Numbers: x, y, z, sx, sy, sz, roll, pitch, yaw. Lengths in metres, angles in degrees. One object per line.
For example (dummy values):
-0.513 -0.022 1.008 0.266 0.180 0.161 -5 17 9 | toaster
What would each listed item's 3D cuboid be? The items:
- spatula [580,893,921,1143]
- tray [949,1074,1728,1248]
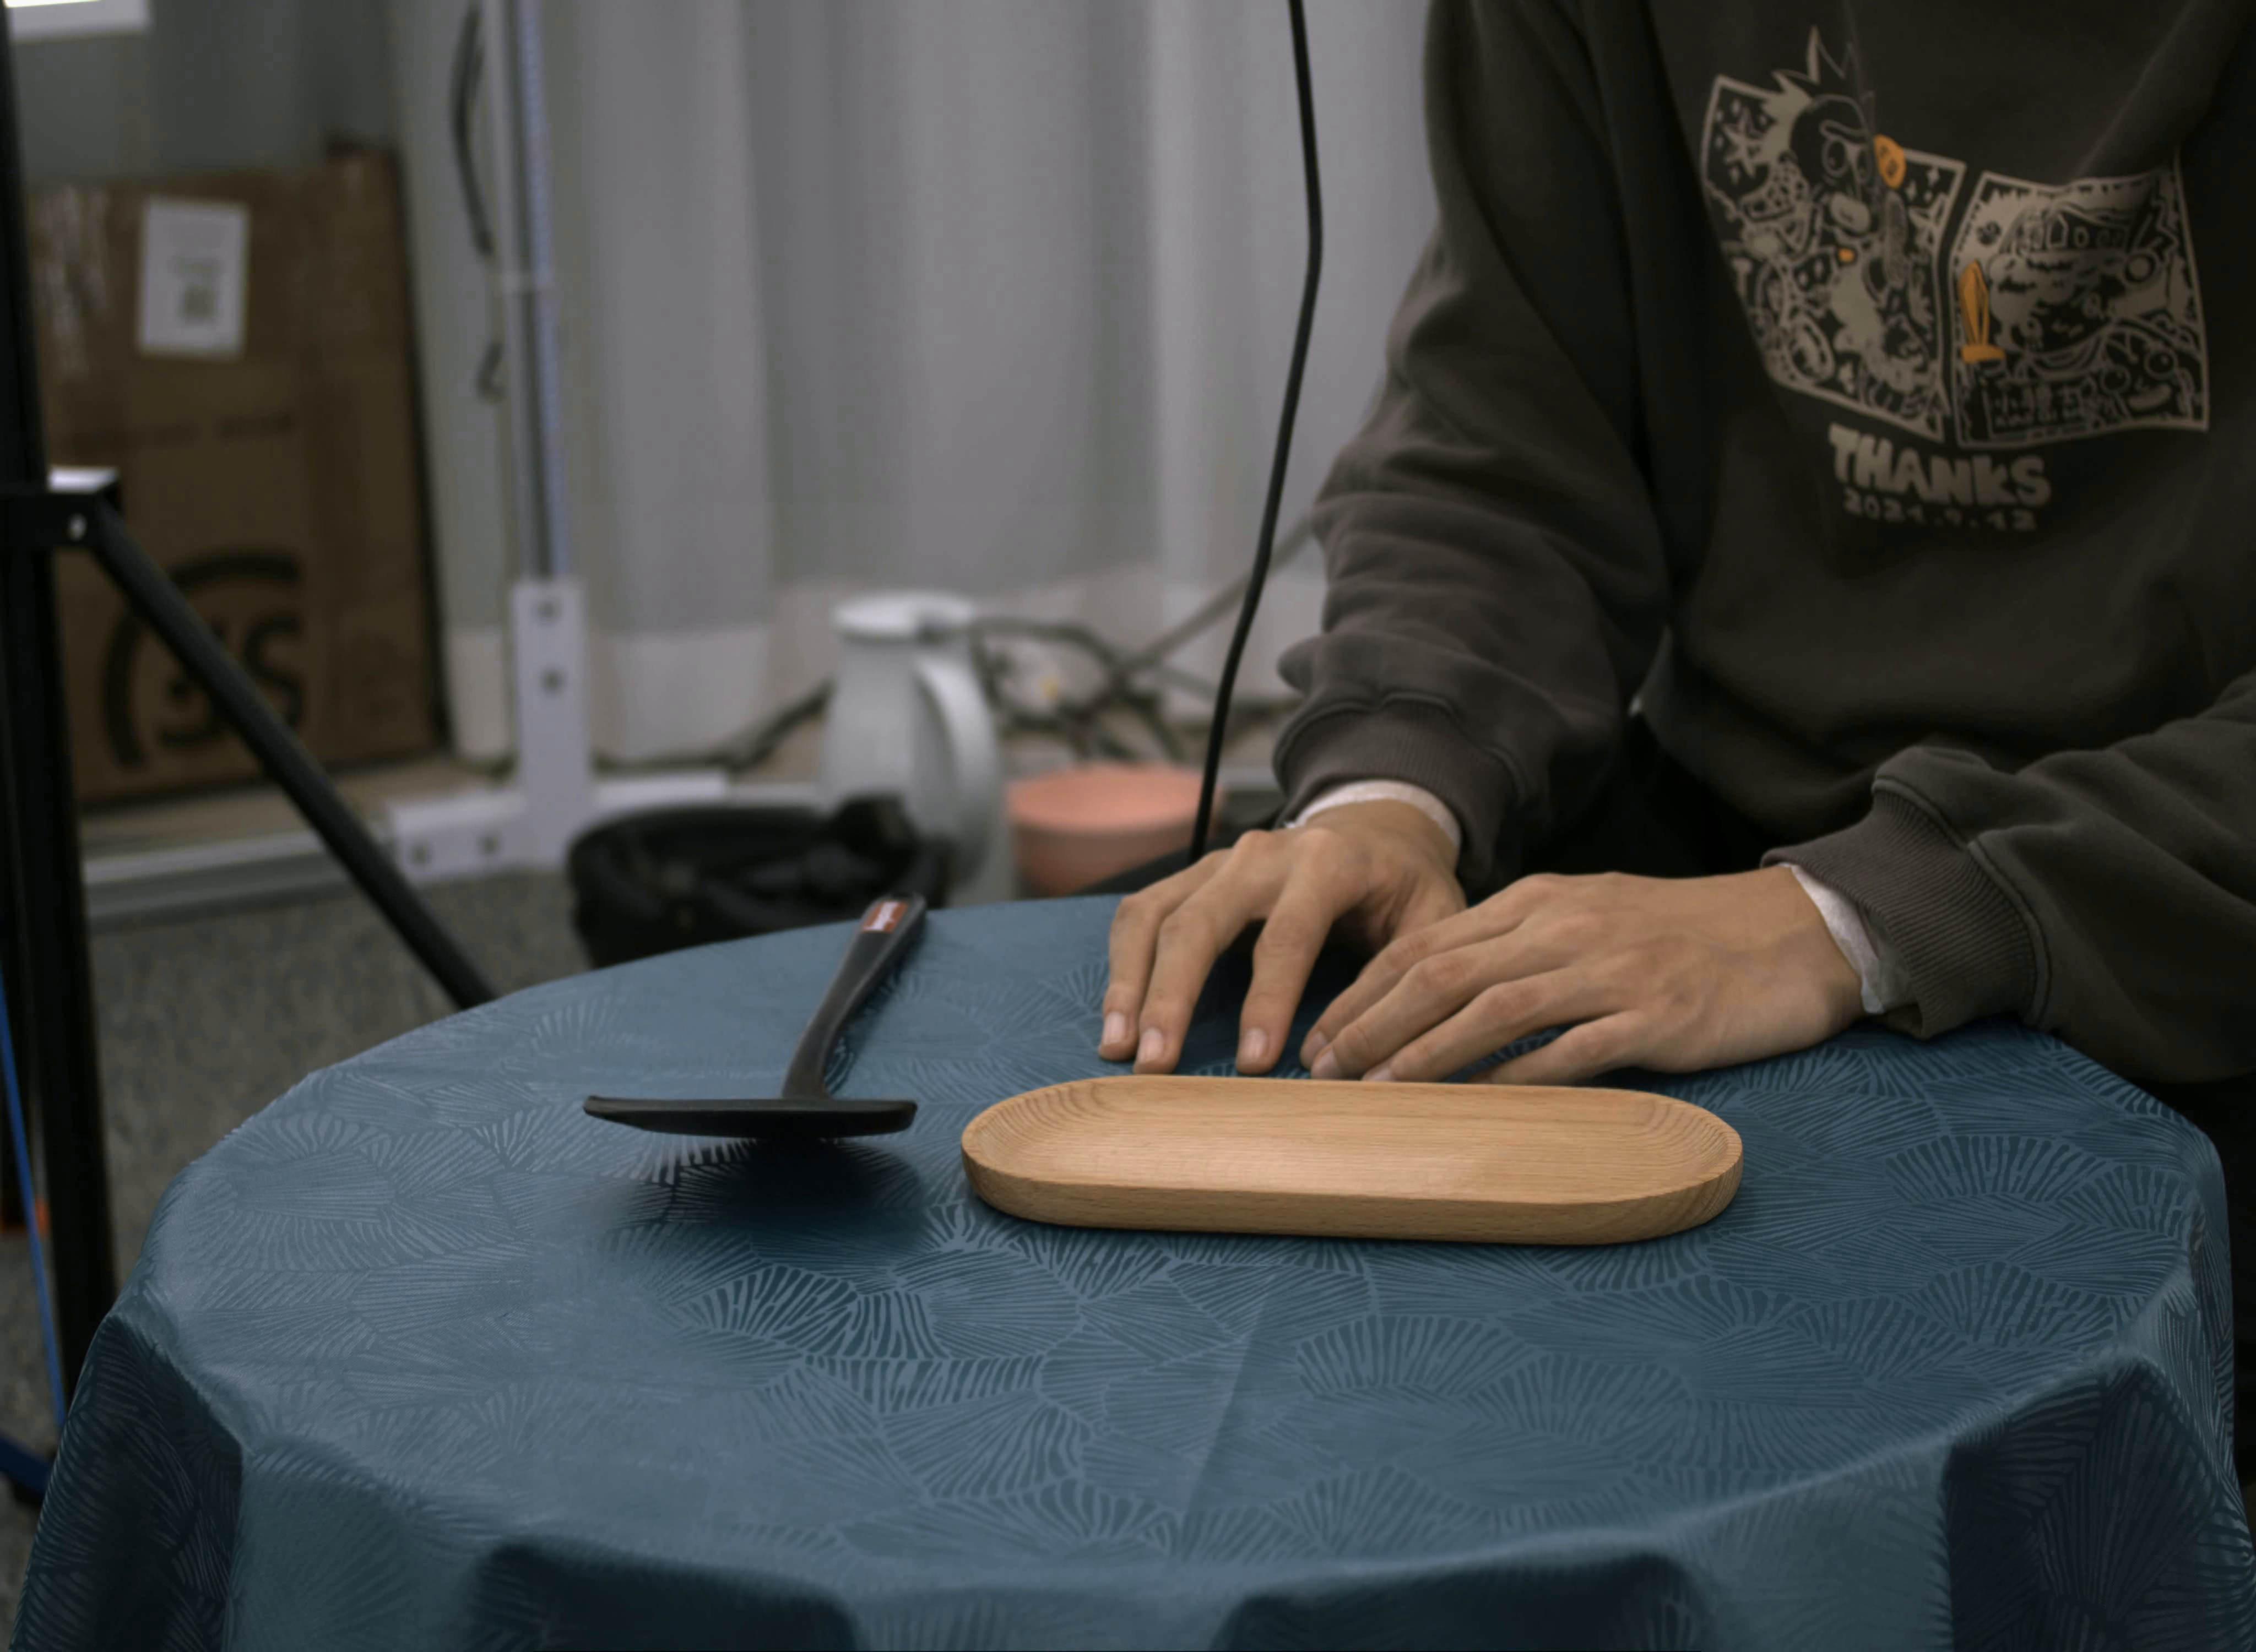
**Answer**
-0.096 0.056 1.695 0.100 0.040 0.326 0 16 6 | spatula
0.061 0.098 1.557 0.233 0.020 0.101 0 15 15 | tray
